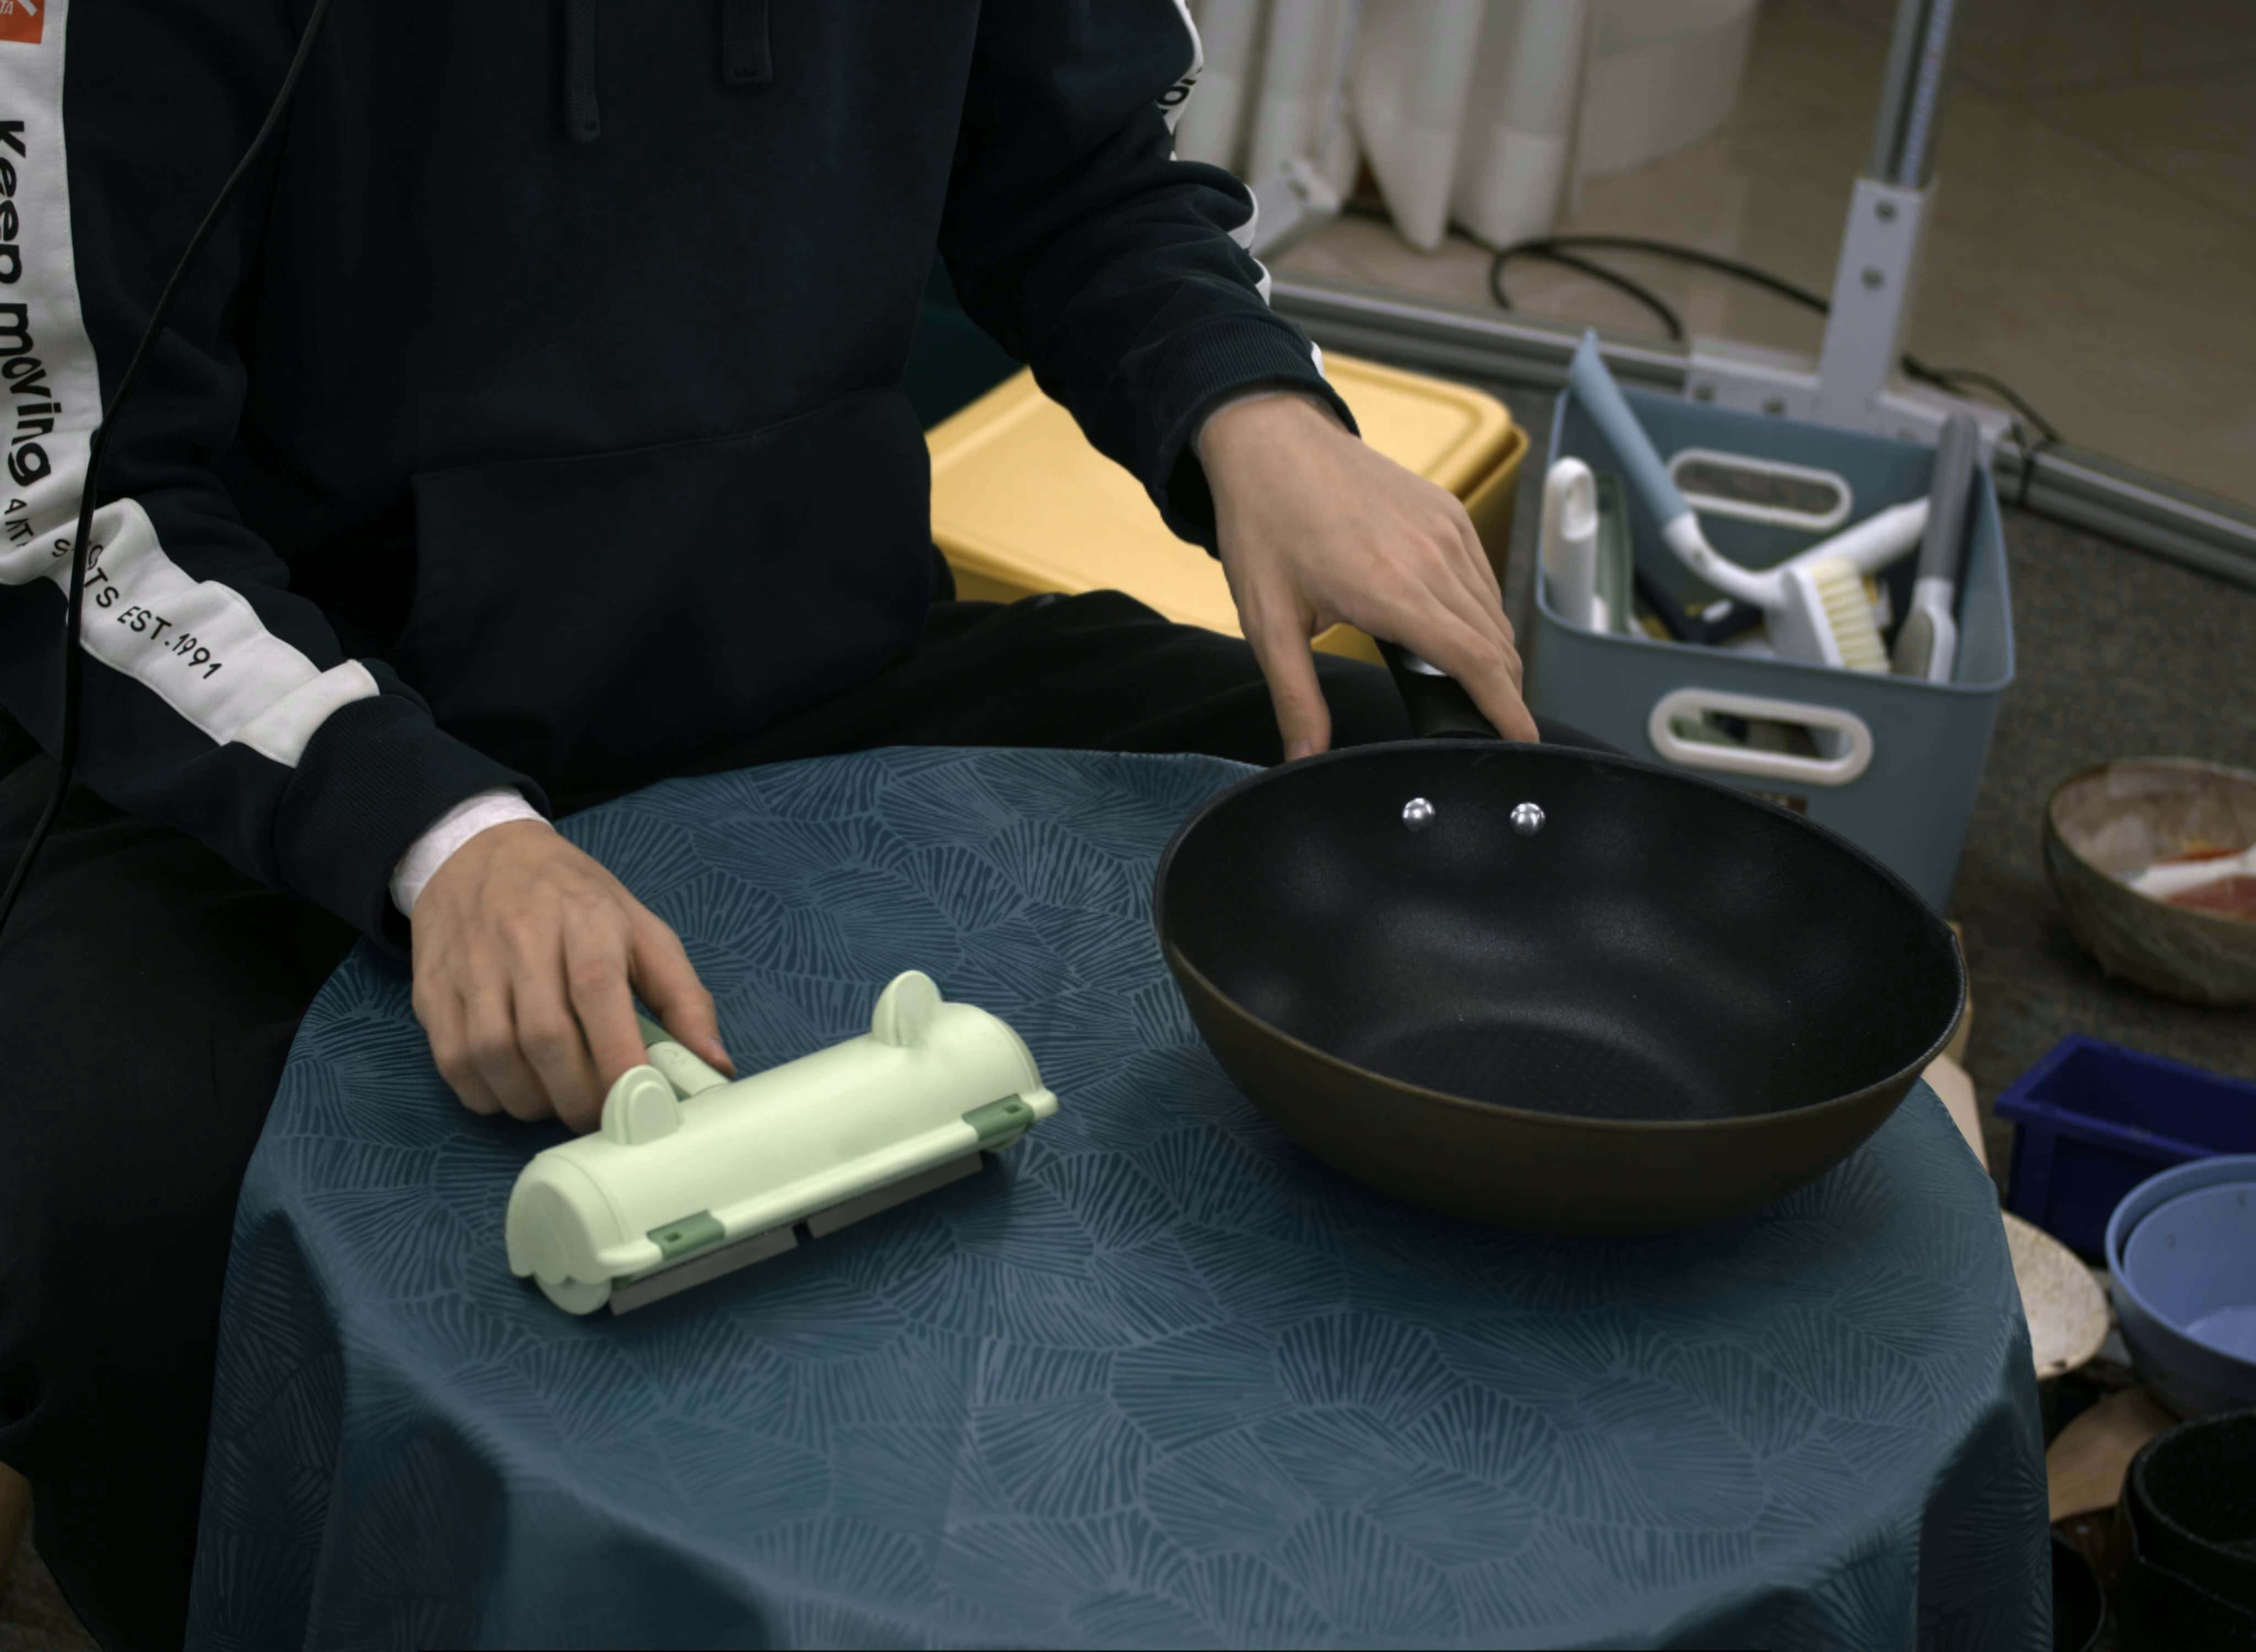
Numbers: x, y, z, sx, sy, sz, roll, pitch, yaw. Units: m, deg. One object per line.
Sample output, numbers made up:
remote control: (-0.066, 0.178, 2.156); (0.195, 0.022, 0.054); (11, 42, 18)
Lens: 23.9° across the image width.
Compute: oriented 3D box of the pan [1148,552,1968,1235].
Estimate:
pan: (0.128, 0.026, 1.928); (0.286, 0.086, 0.467); (1, 26, -12)

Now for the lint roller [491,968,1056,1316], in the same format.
lint roller: (-0.151, 0.076, 1.776); (0.197, 0.082, 0.185); (-19, 41, -40)
